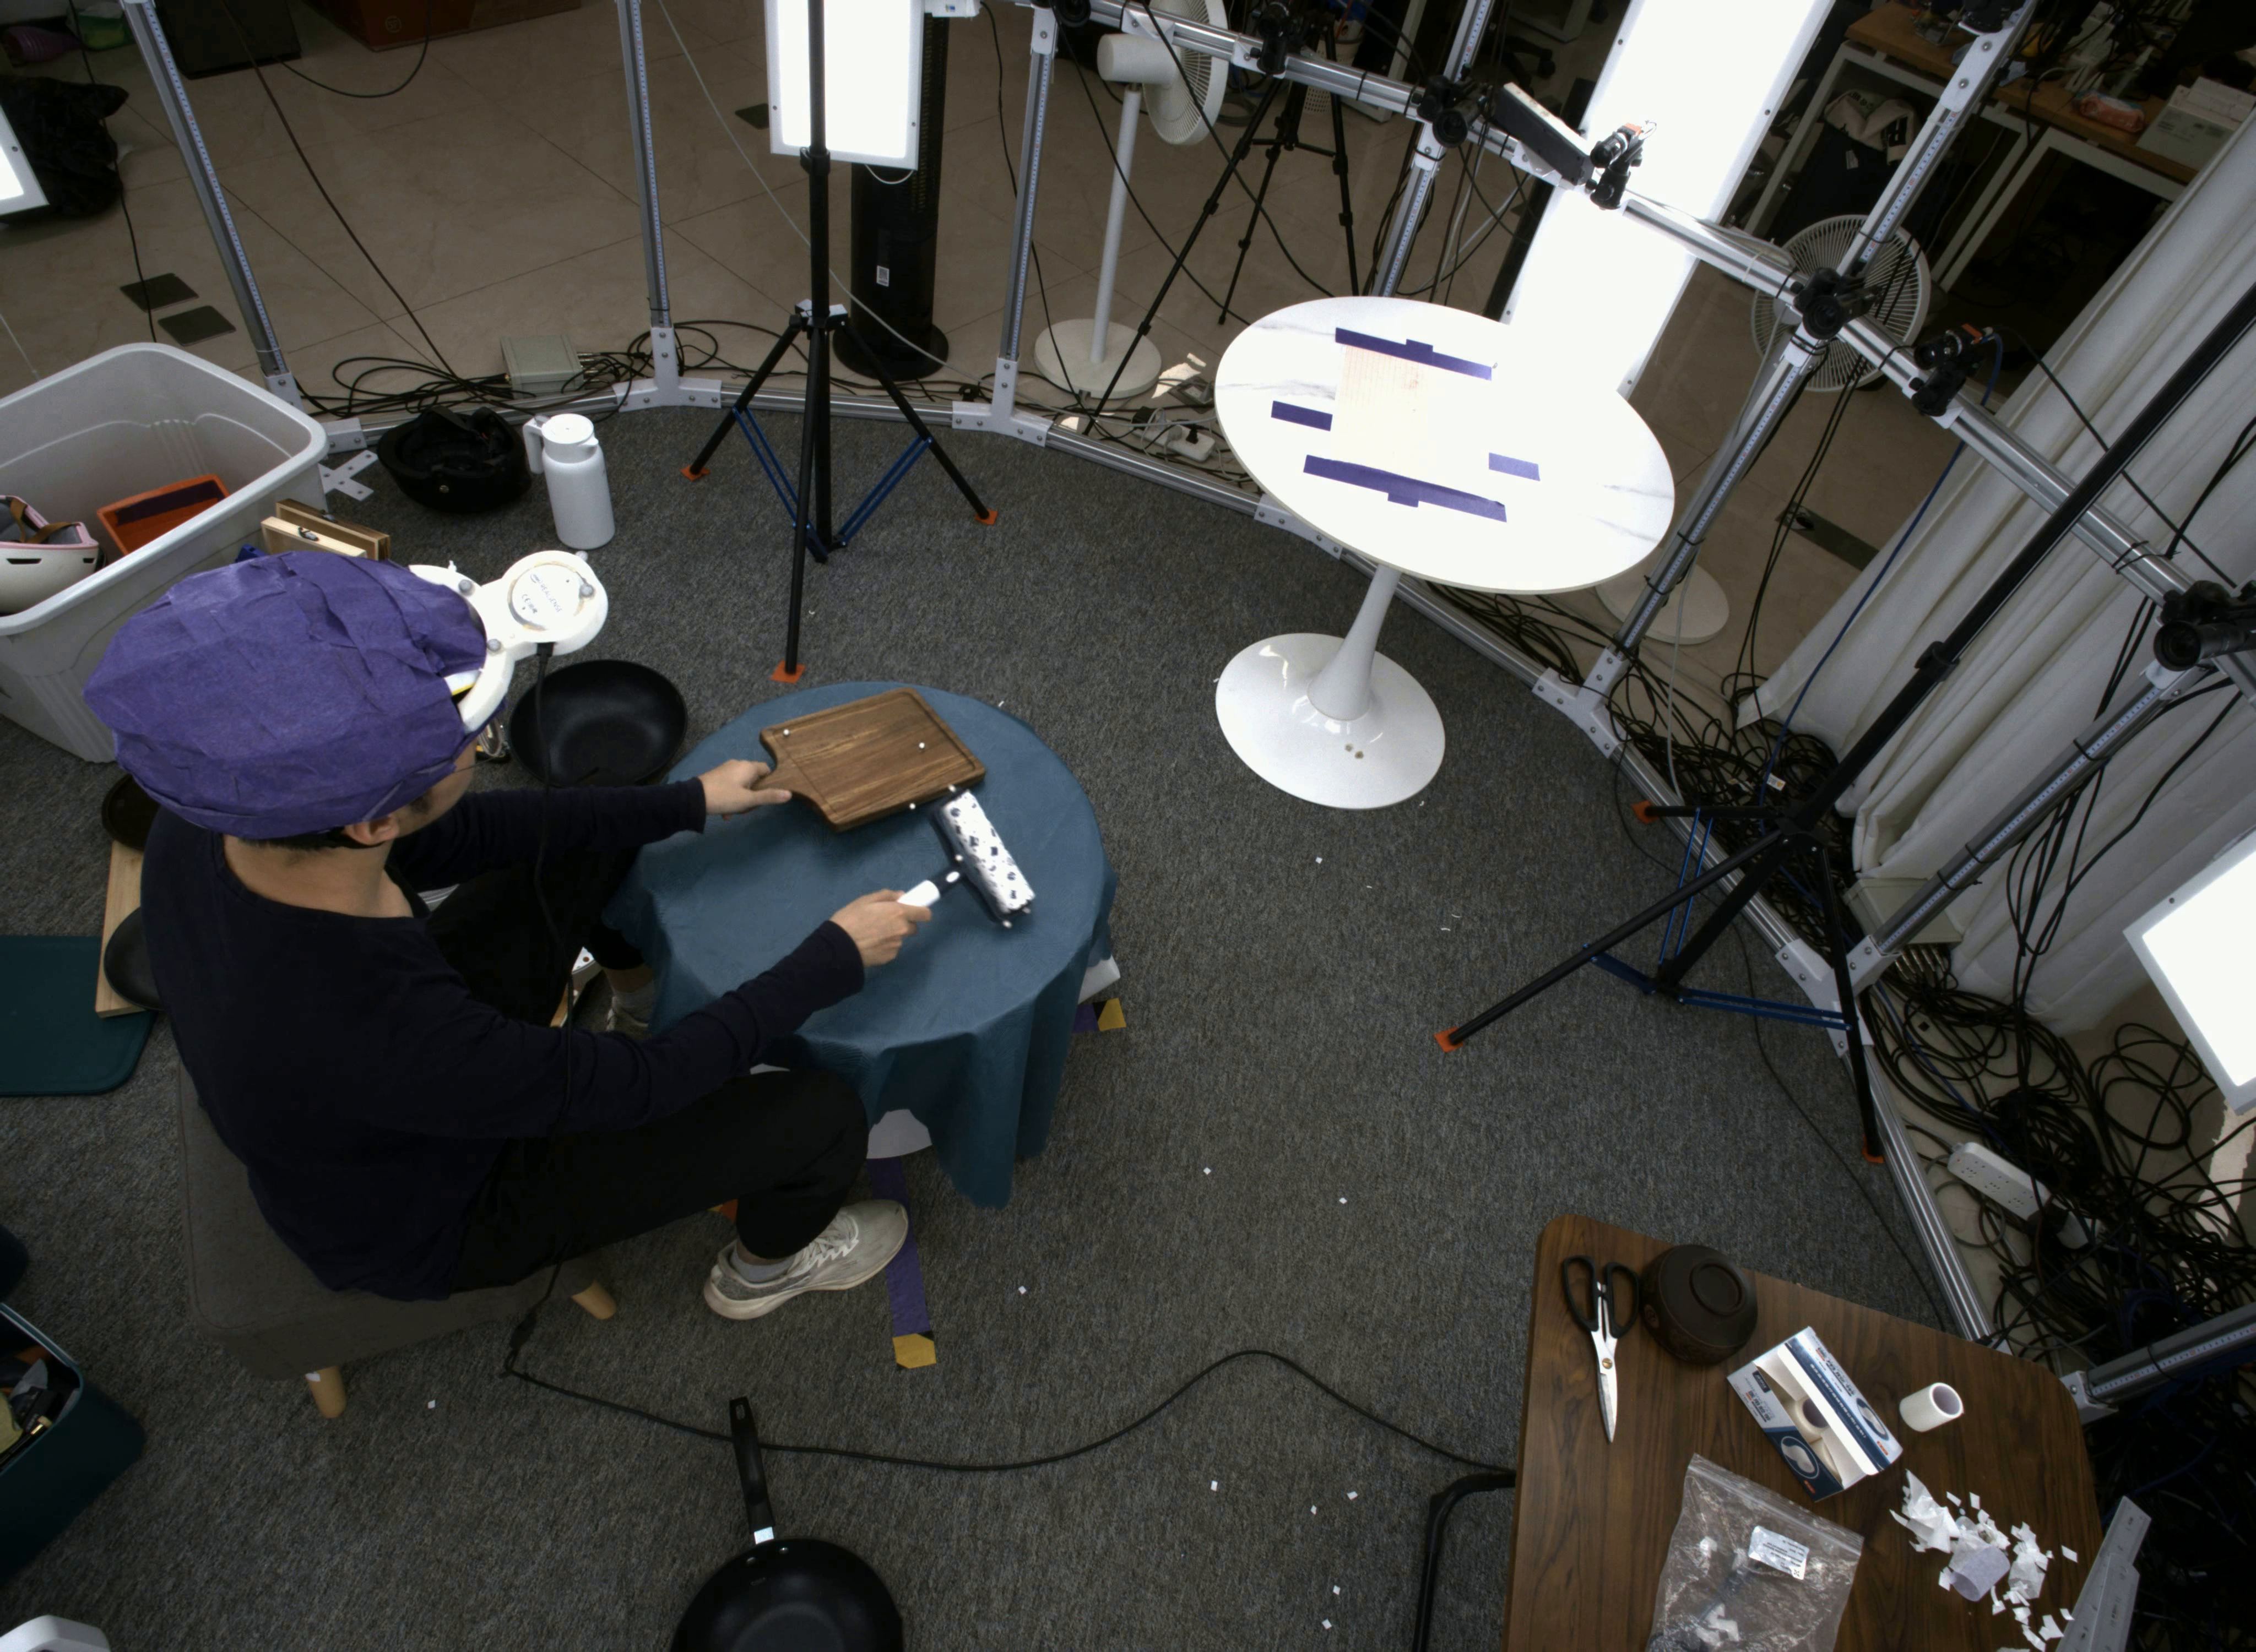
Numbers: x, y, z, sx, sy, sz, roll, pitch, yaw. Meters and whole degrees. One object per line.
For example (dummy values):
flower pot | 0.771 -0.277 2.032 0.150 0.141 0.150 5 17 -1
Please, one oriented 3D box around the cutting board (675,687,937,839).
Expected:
cutting board | -0.448 -0.075 1.733 0.354 0.023 0.196 -27 62 -40

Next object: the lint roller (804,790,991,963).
lint roller | -0.301 0.089 1.618 0.247 0.049 0.180 -41 104 -35
